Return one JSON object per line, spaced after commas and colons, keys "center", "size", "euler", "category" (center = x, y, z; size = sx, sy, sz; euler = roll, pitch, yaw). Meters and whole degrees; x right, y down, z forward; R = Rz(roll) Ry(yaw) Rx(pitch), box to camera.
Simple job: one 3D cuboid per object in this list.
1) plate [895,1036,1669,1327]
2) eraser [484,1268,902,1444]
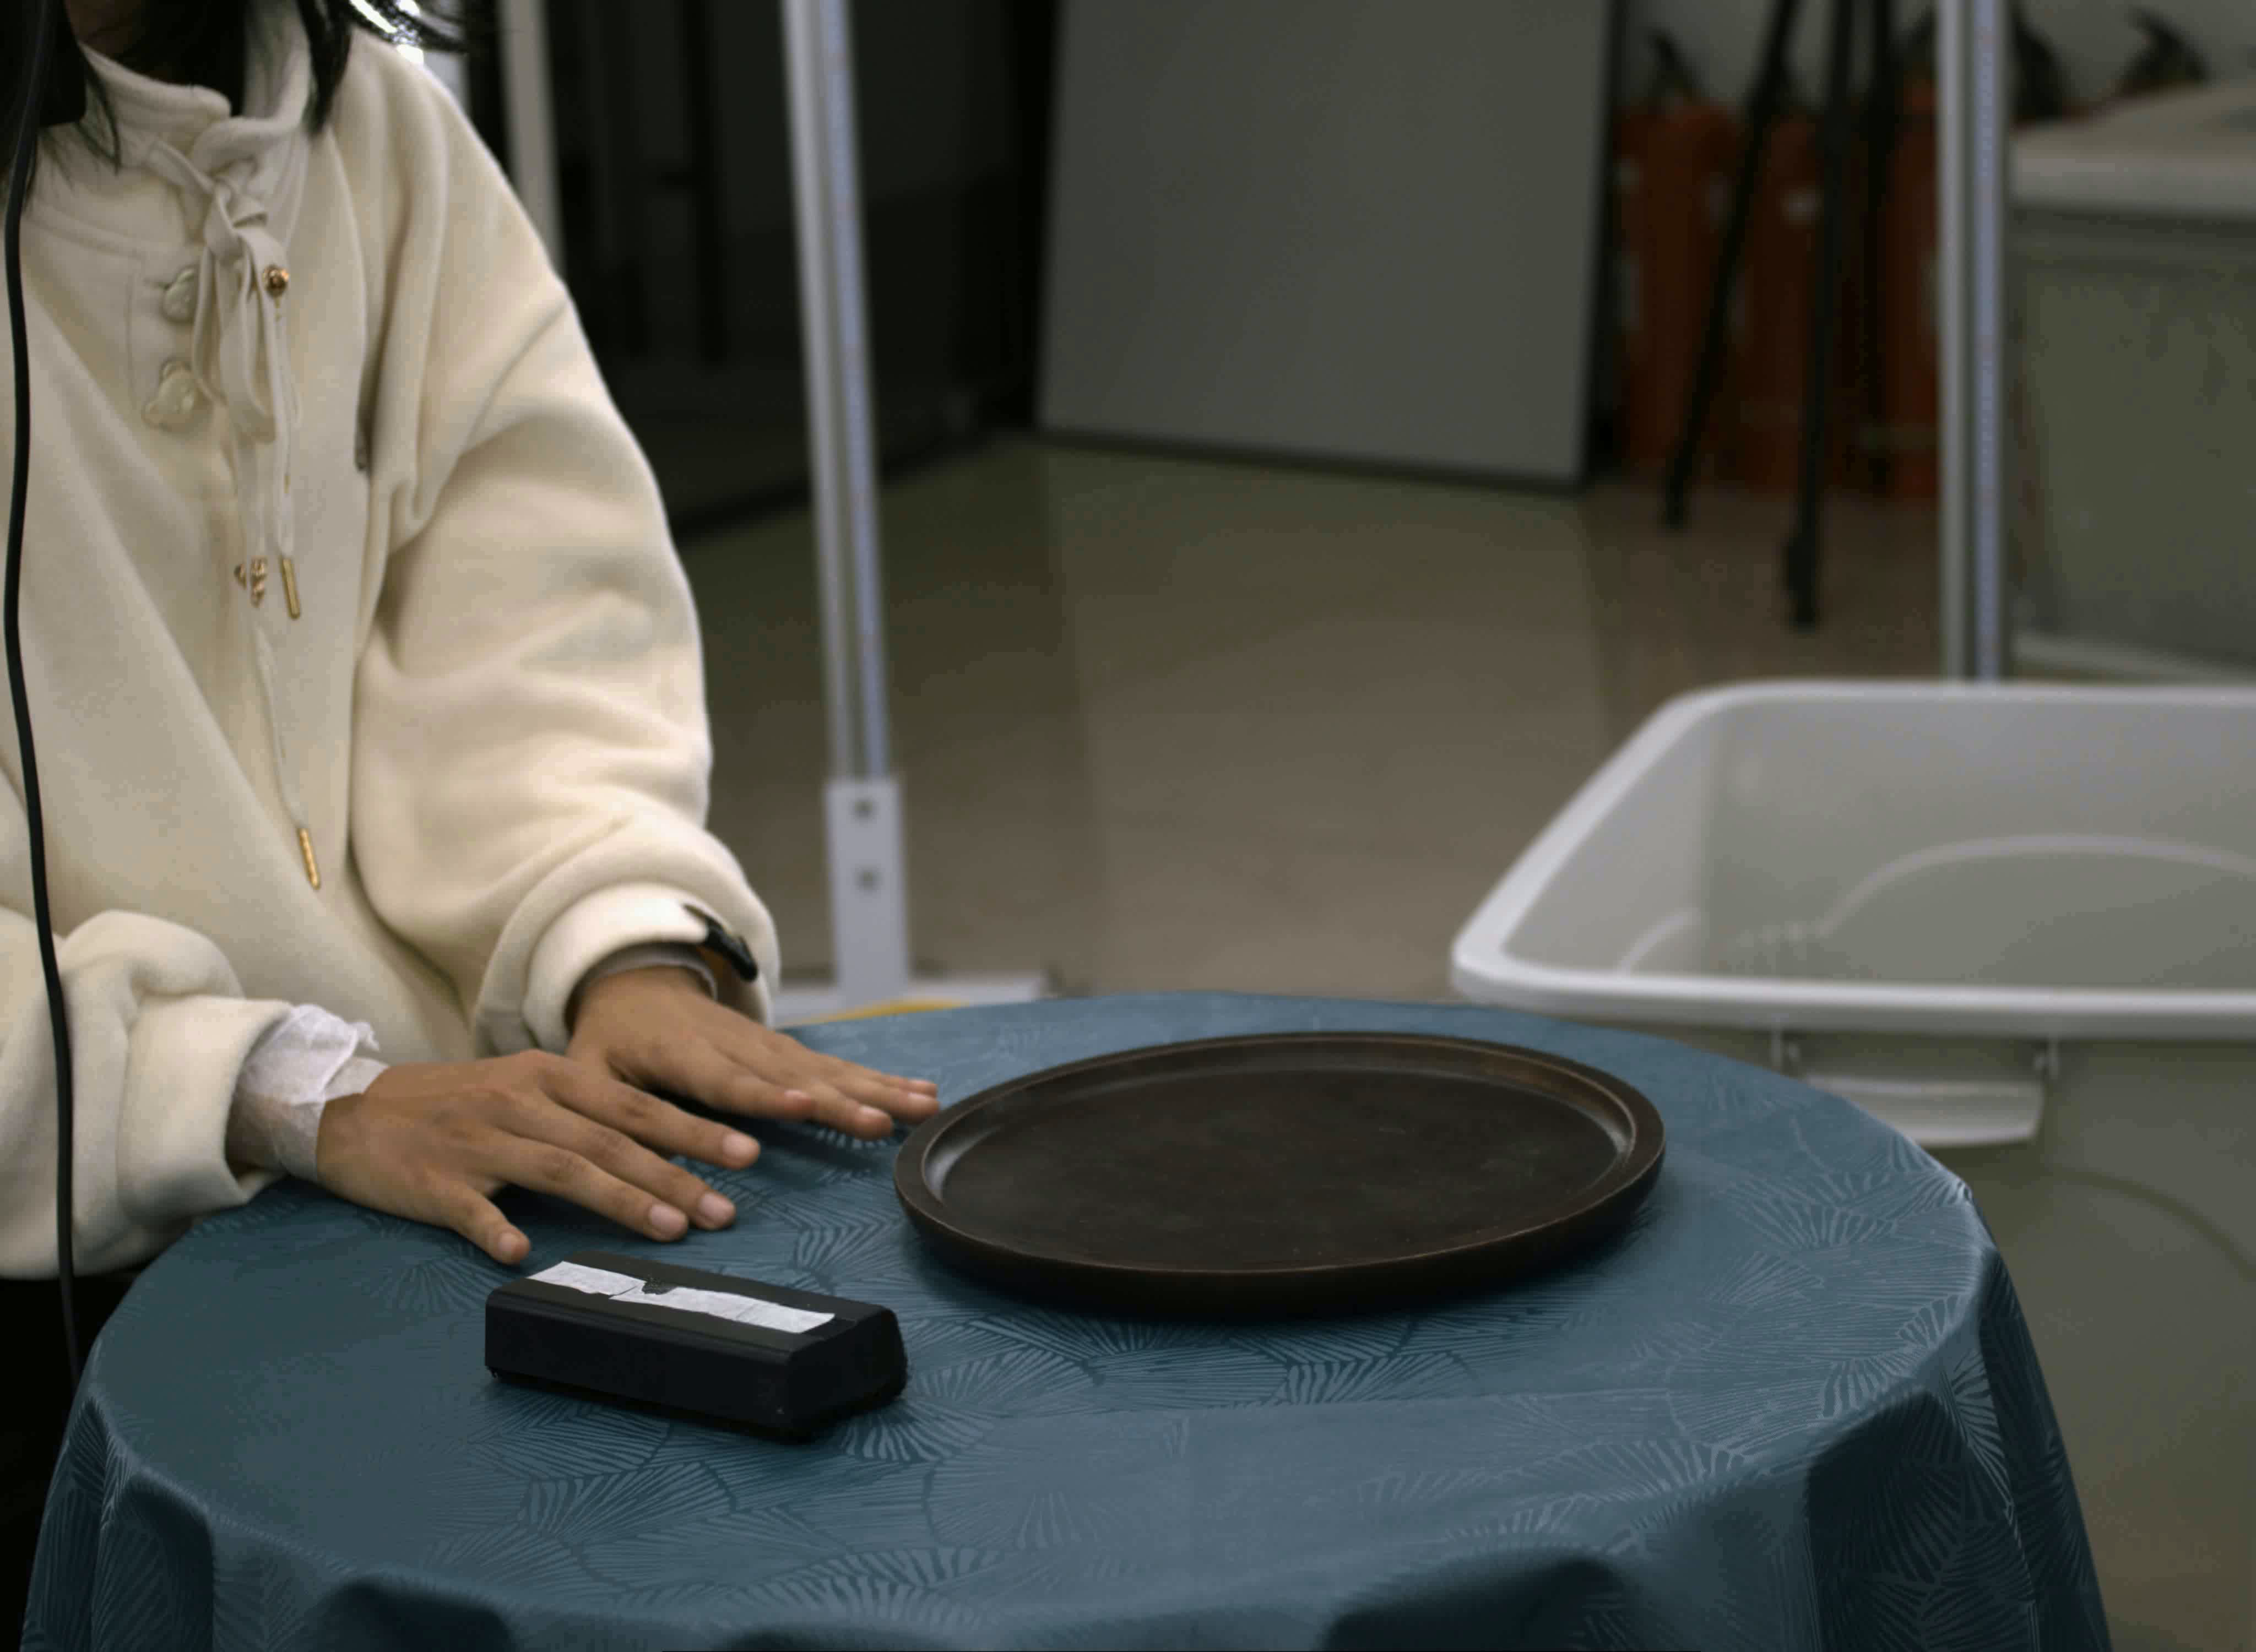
{"center": [0.050, 0.112, 1.742], "size": [0.251, 0.029, 0.255], "euler": [-3, 15, 0], "category": "plate"}
{"center": [-0.129, 0.157, 1.609], "size": [0.126, 0.031, 0.052], "euler": [5, 14, 38], "category": "eraser"}
